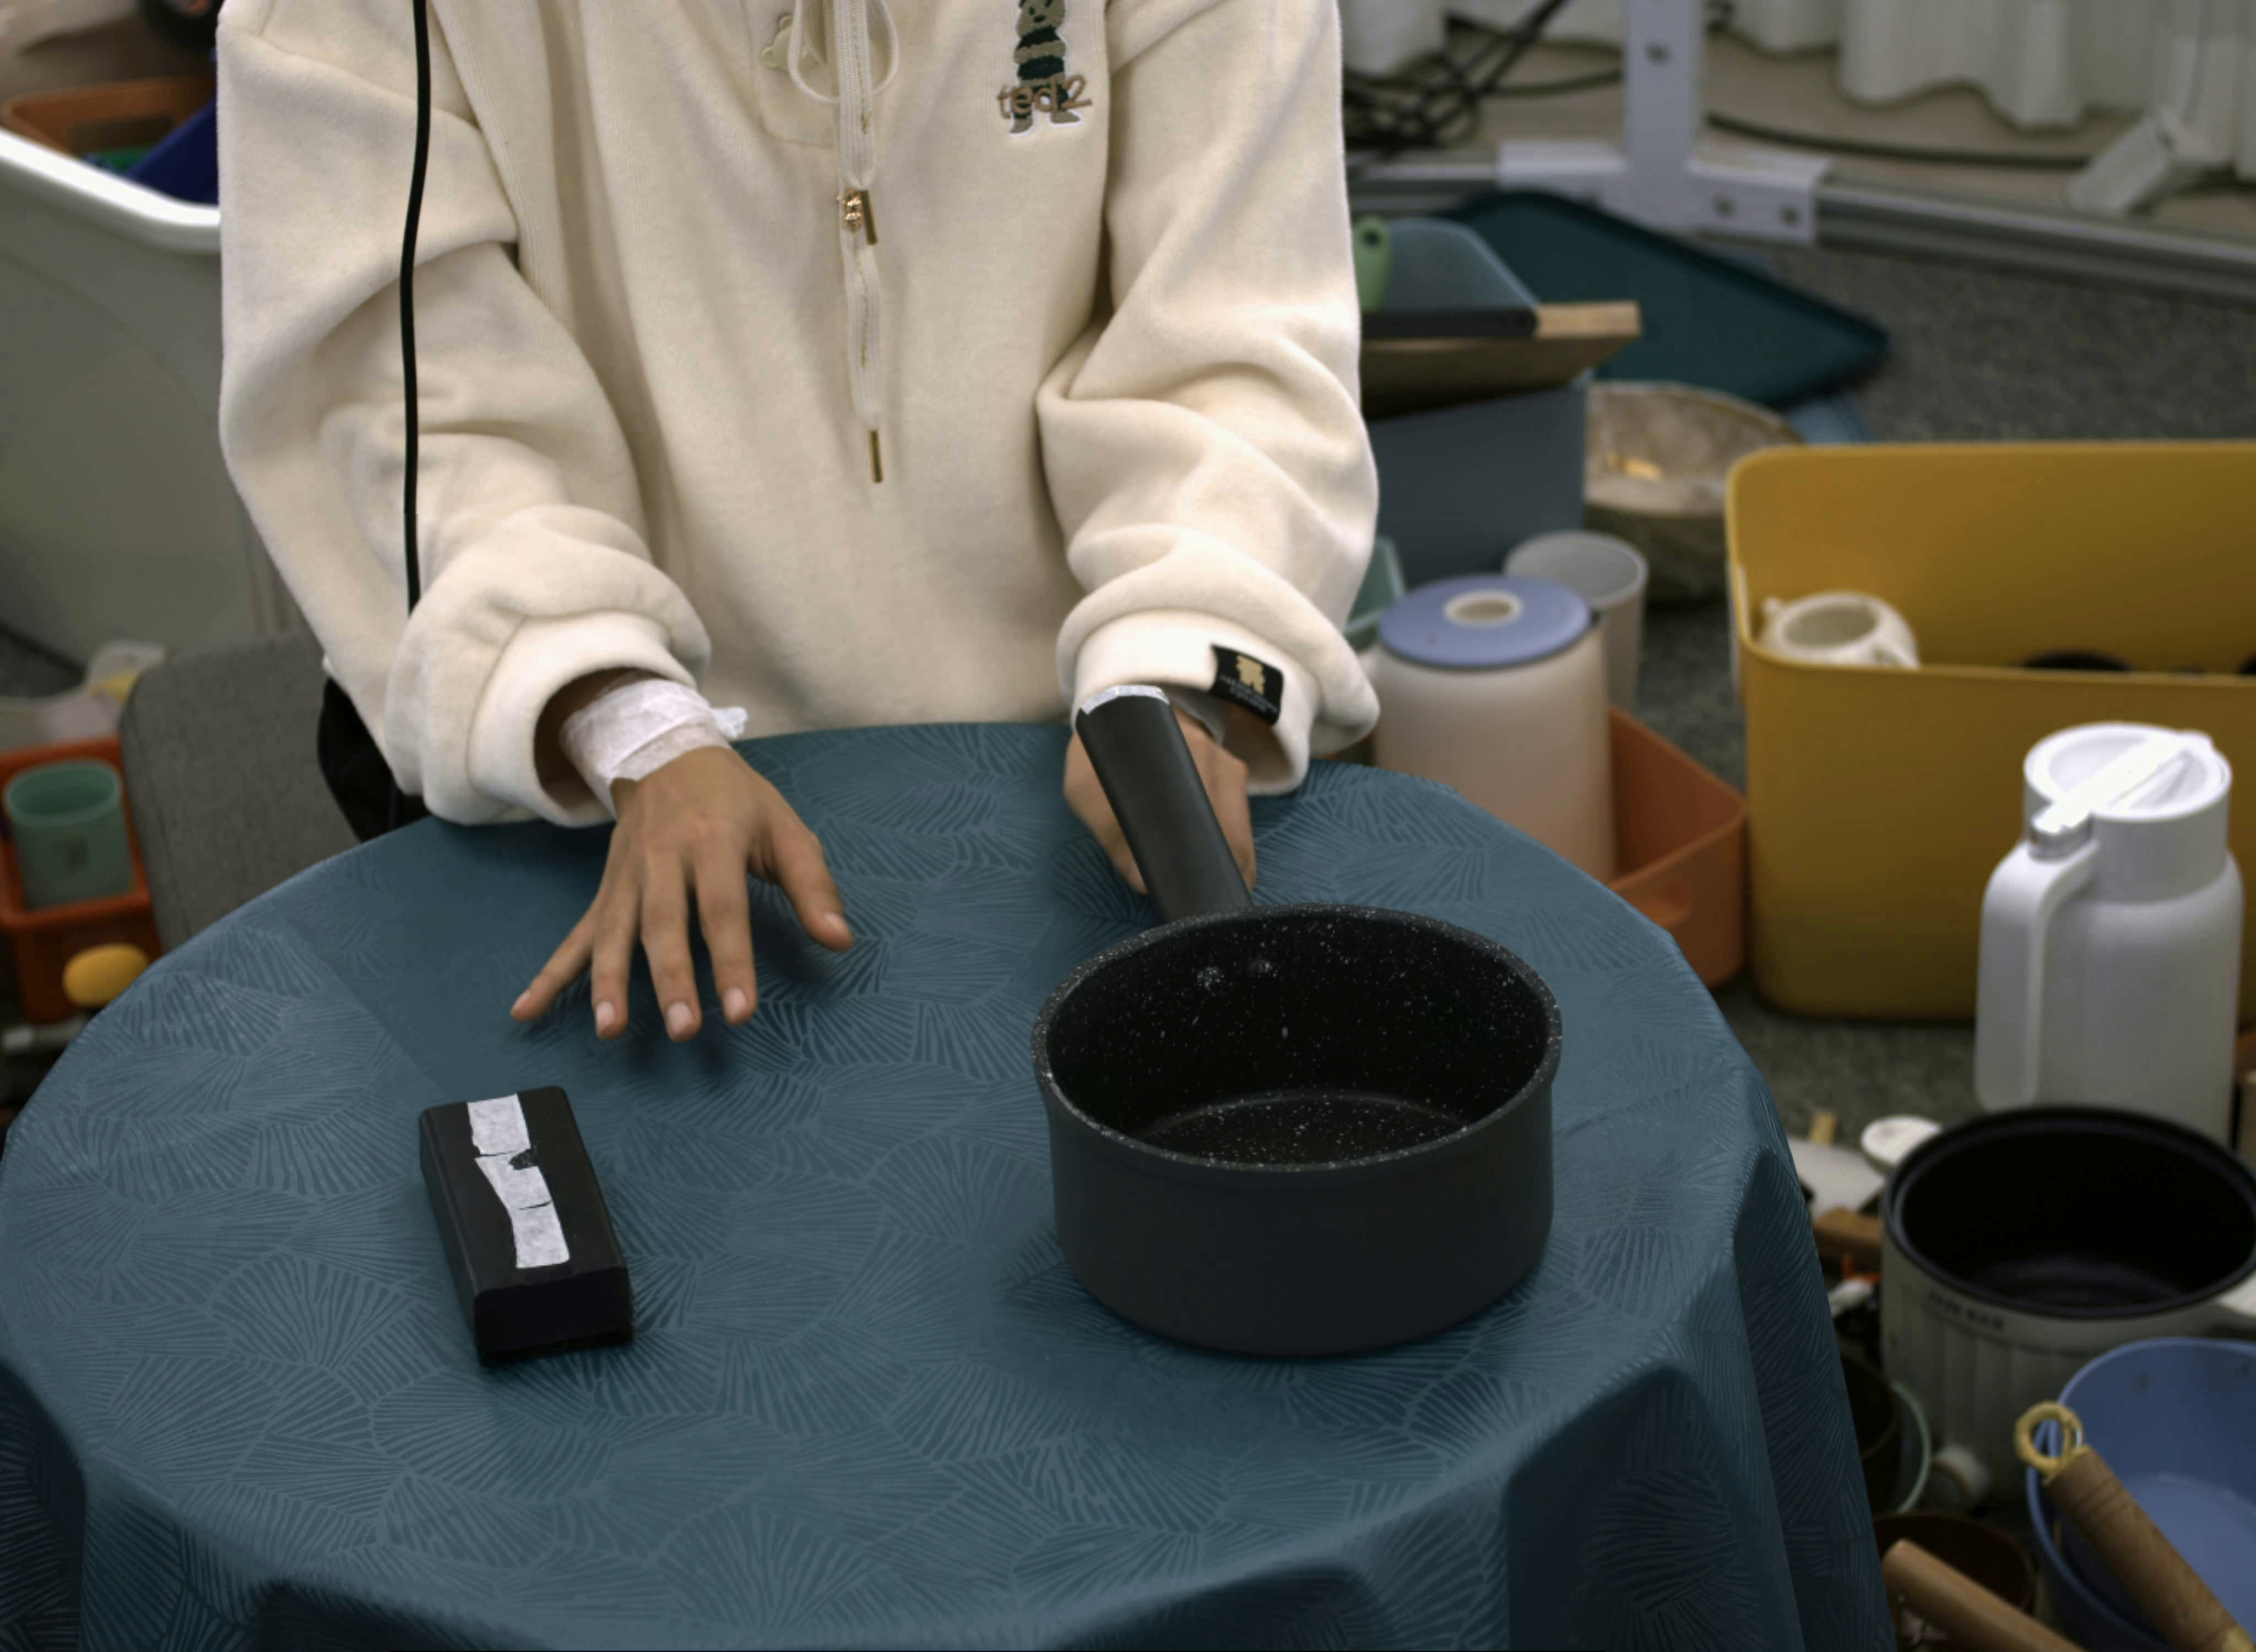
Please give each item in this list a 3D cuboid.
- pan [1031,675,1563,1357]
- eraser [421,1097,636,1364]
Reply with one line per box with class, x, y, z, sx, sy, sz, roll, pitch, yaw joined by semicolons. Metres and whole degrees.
pan;0.040;0.060;1.887;0.172;0.085;0.333;-7;29;-9
eraser;-0.196;0.132;1.833;0.053;0.030;0.127;-8;27;-12
